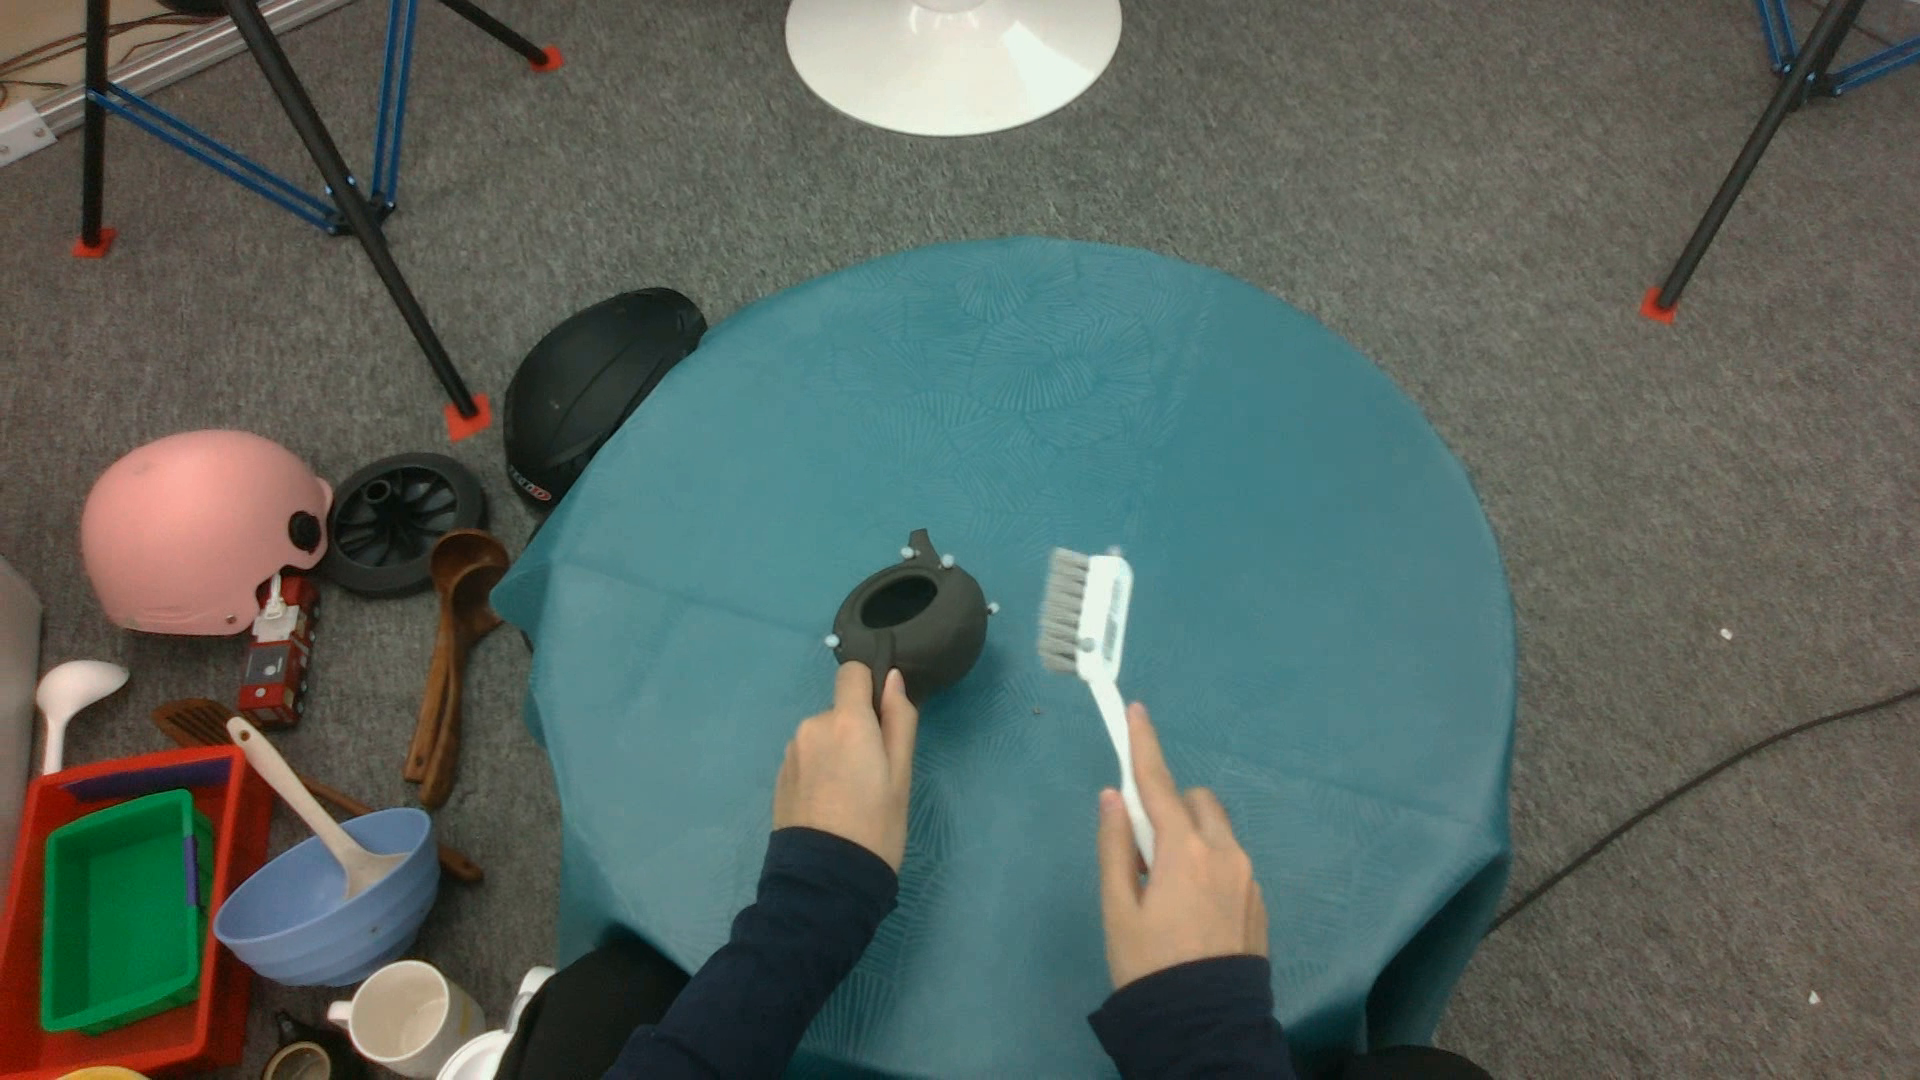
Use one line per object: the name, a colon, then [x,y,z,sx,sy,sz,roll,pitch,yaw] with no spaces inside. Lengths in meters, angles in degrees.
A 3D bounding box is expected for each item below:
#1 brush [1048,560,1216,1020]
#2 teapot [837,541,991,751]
brush: [0.084,0.123,0.711,0.050,0.034,0.244,-17,67,18]
teapot: [-0.027,0.063,0.810,0.092,0.064,0.155,-10,36,20]
